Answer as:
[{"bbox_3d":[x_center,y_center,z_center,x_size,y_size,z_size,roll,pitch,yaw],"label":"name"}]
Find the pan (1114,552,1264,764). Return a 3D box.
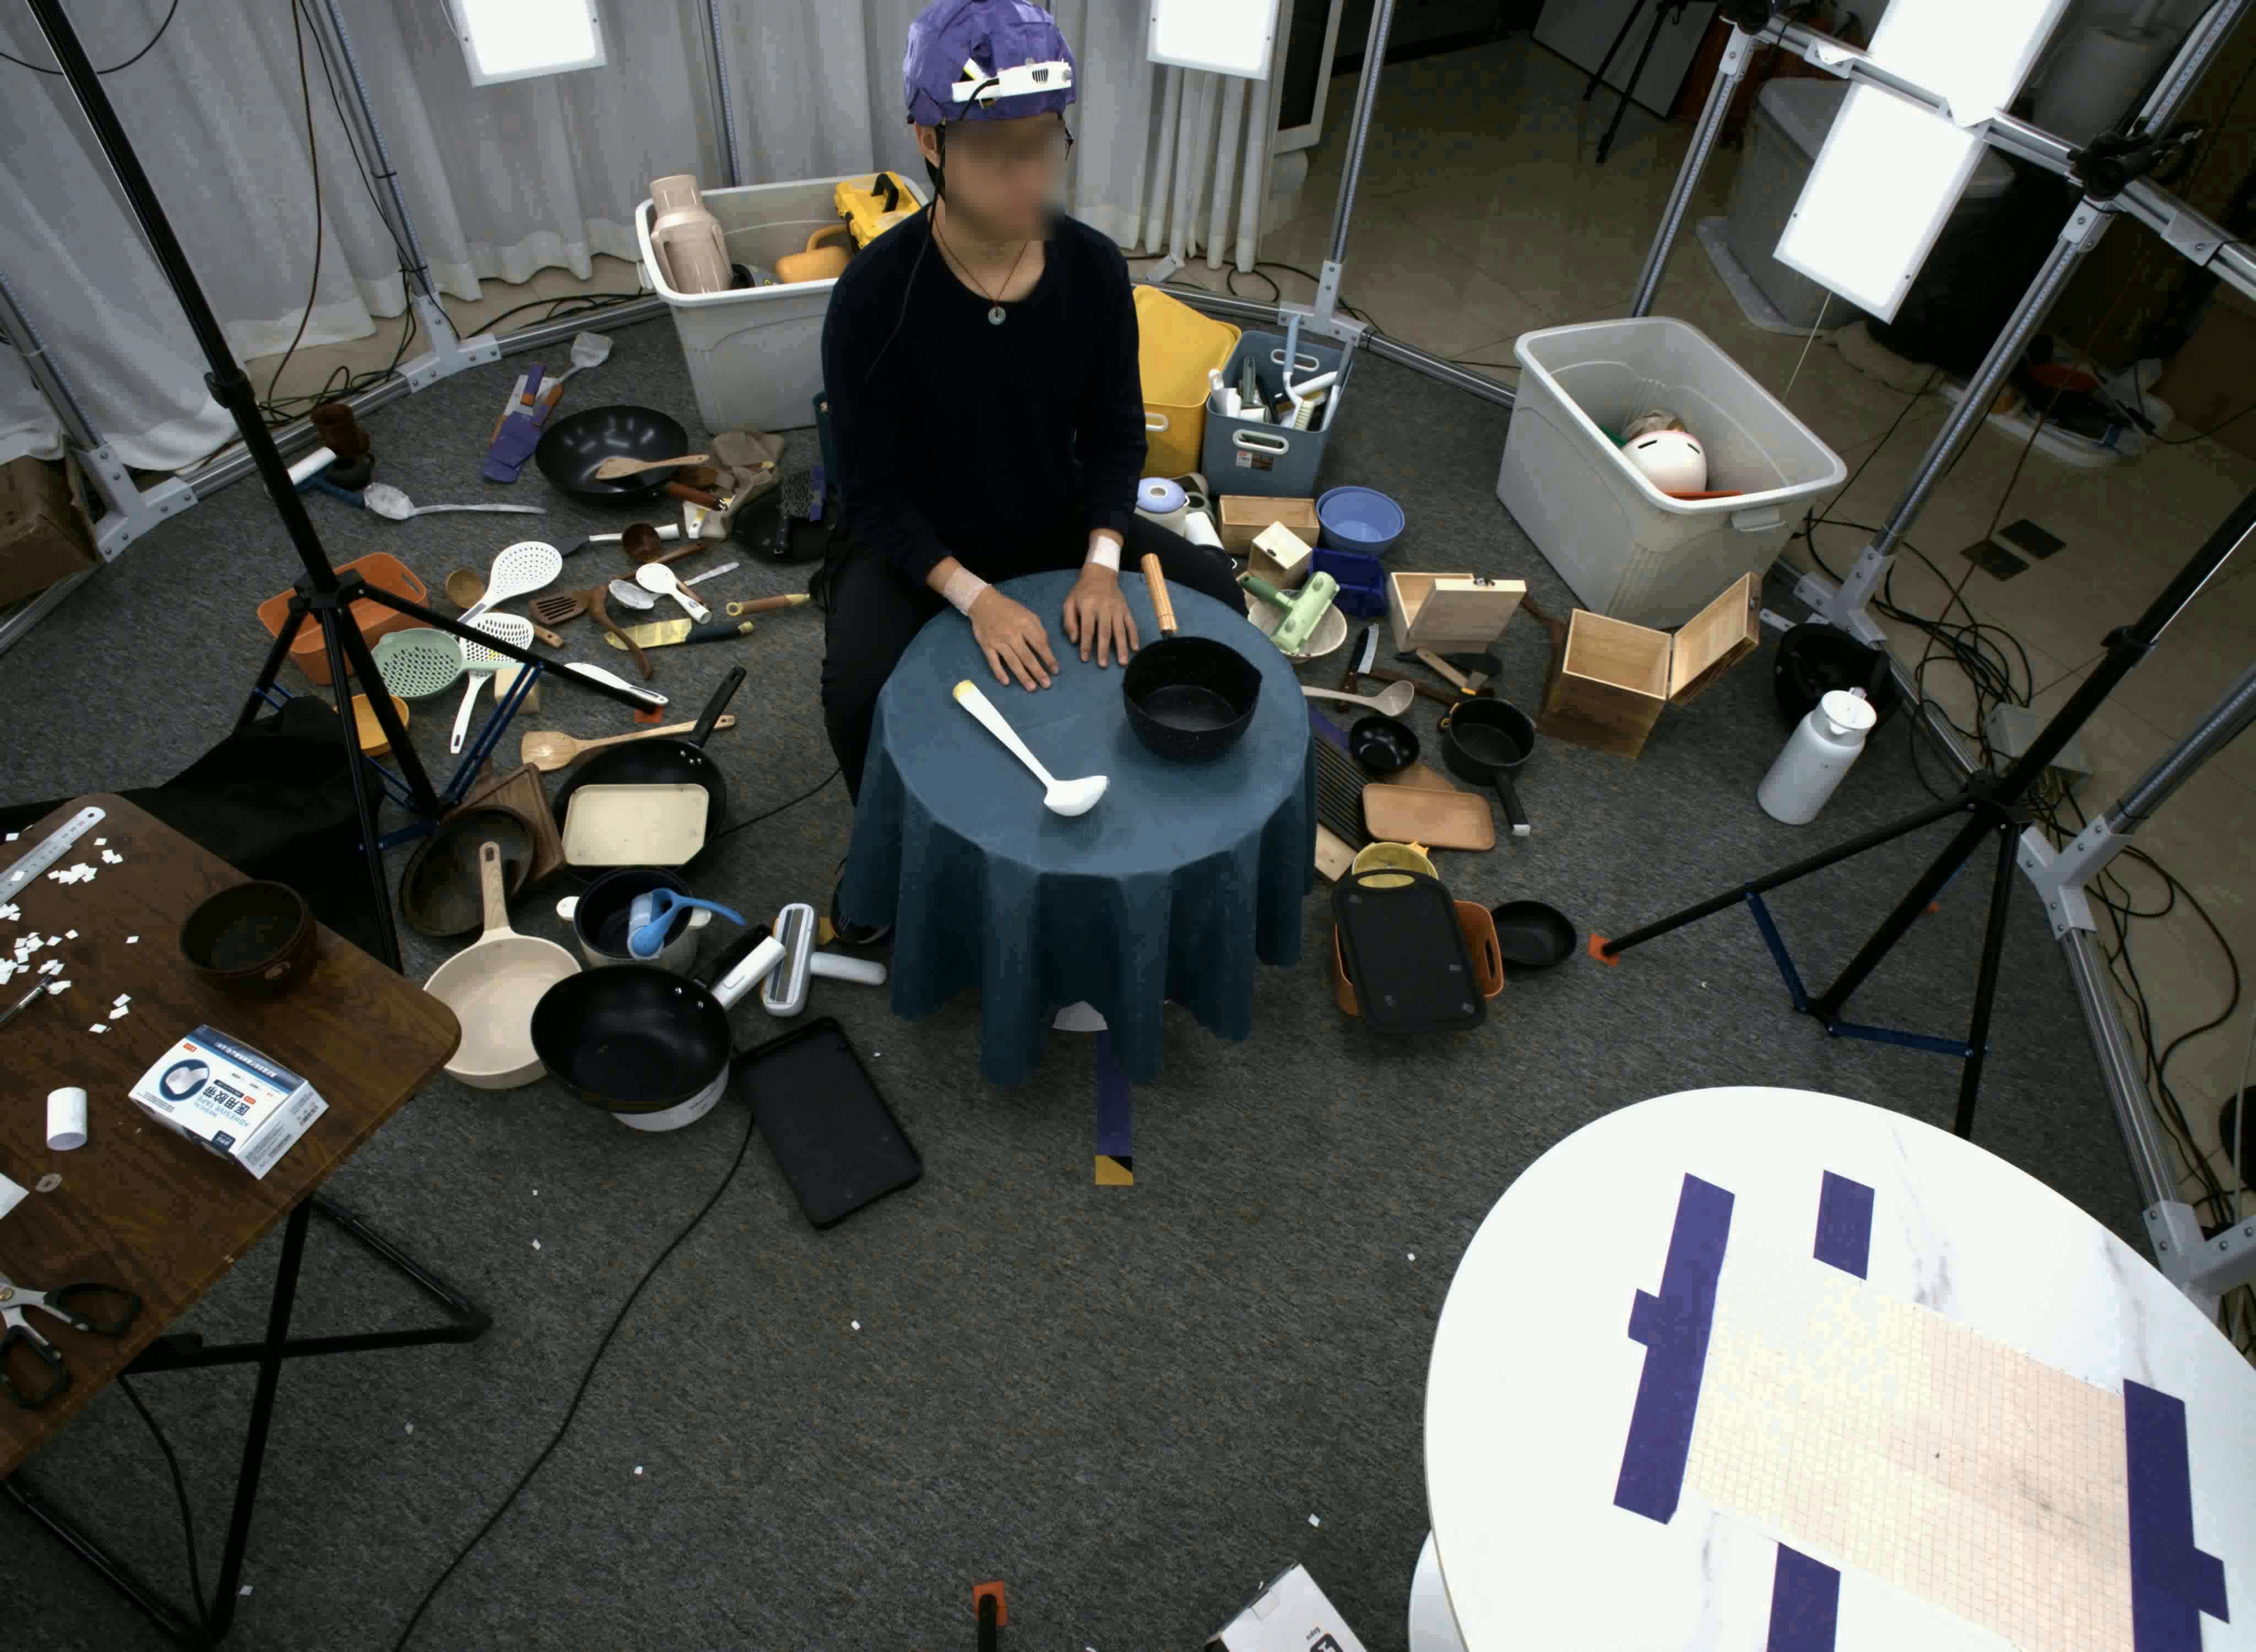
[{"bbox_3d":[0.065,-0.237,1.809,0.207,0.105,0.351,-9,52,-11],"label":"pan"}]

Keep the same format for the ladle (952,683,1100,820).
[{"bbox_3d":[-0.146,-0.108,1.710,0.090,0.068,0.298,-32,57,-19],"label":"ladle"}]
